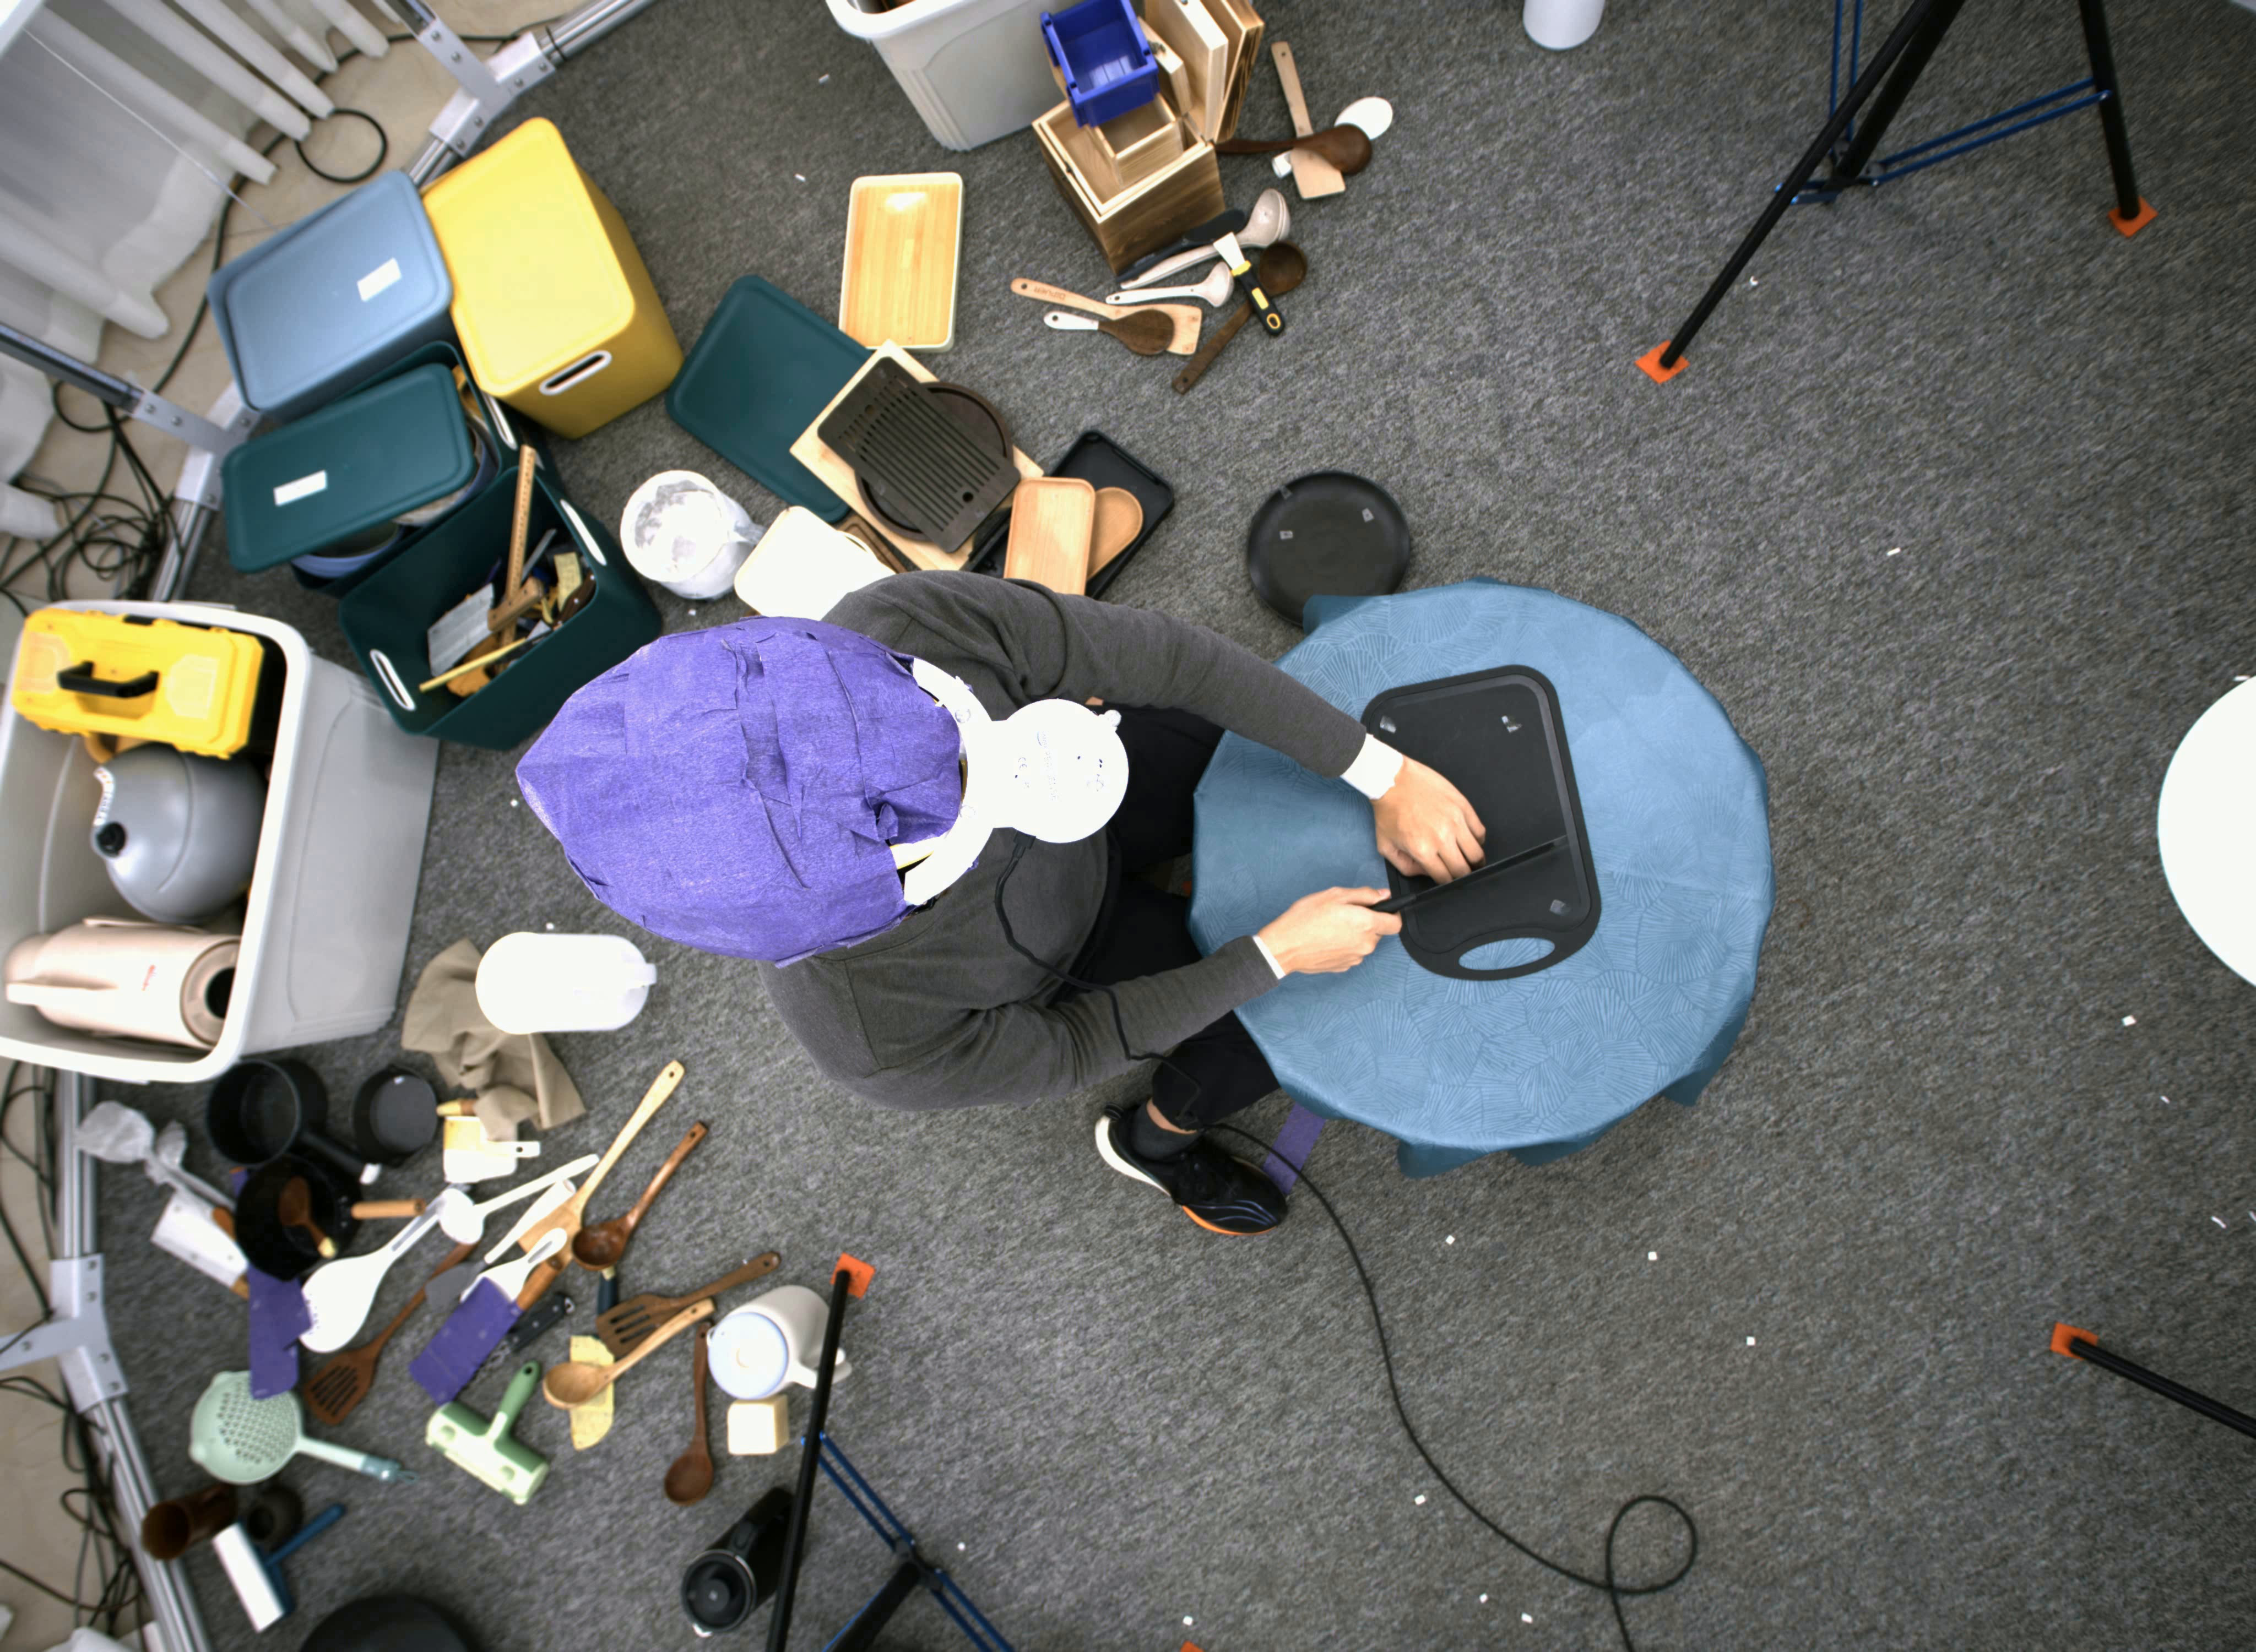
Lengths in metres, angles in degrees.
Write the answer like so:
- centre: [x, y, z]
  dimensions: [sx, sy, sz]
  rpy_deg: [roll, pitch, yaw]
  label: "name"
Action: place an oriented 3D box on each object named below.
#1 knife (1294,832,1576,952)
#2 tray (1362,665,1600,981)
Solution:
- centre: [0.311, 0.065, 1.399]
  dimensions: [0.303, 0.081, 0.020]
  rpy_deg: [-21, 75, 5]
  label: "knife"
- centre: [0.371, -0.003, 1.442]
  dimensions: [0.212, 0.010, 0.323]
  rpy_deg: [-10, 85, 11]
  label: "tray"
